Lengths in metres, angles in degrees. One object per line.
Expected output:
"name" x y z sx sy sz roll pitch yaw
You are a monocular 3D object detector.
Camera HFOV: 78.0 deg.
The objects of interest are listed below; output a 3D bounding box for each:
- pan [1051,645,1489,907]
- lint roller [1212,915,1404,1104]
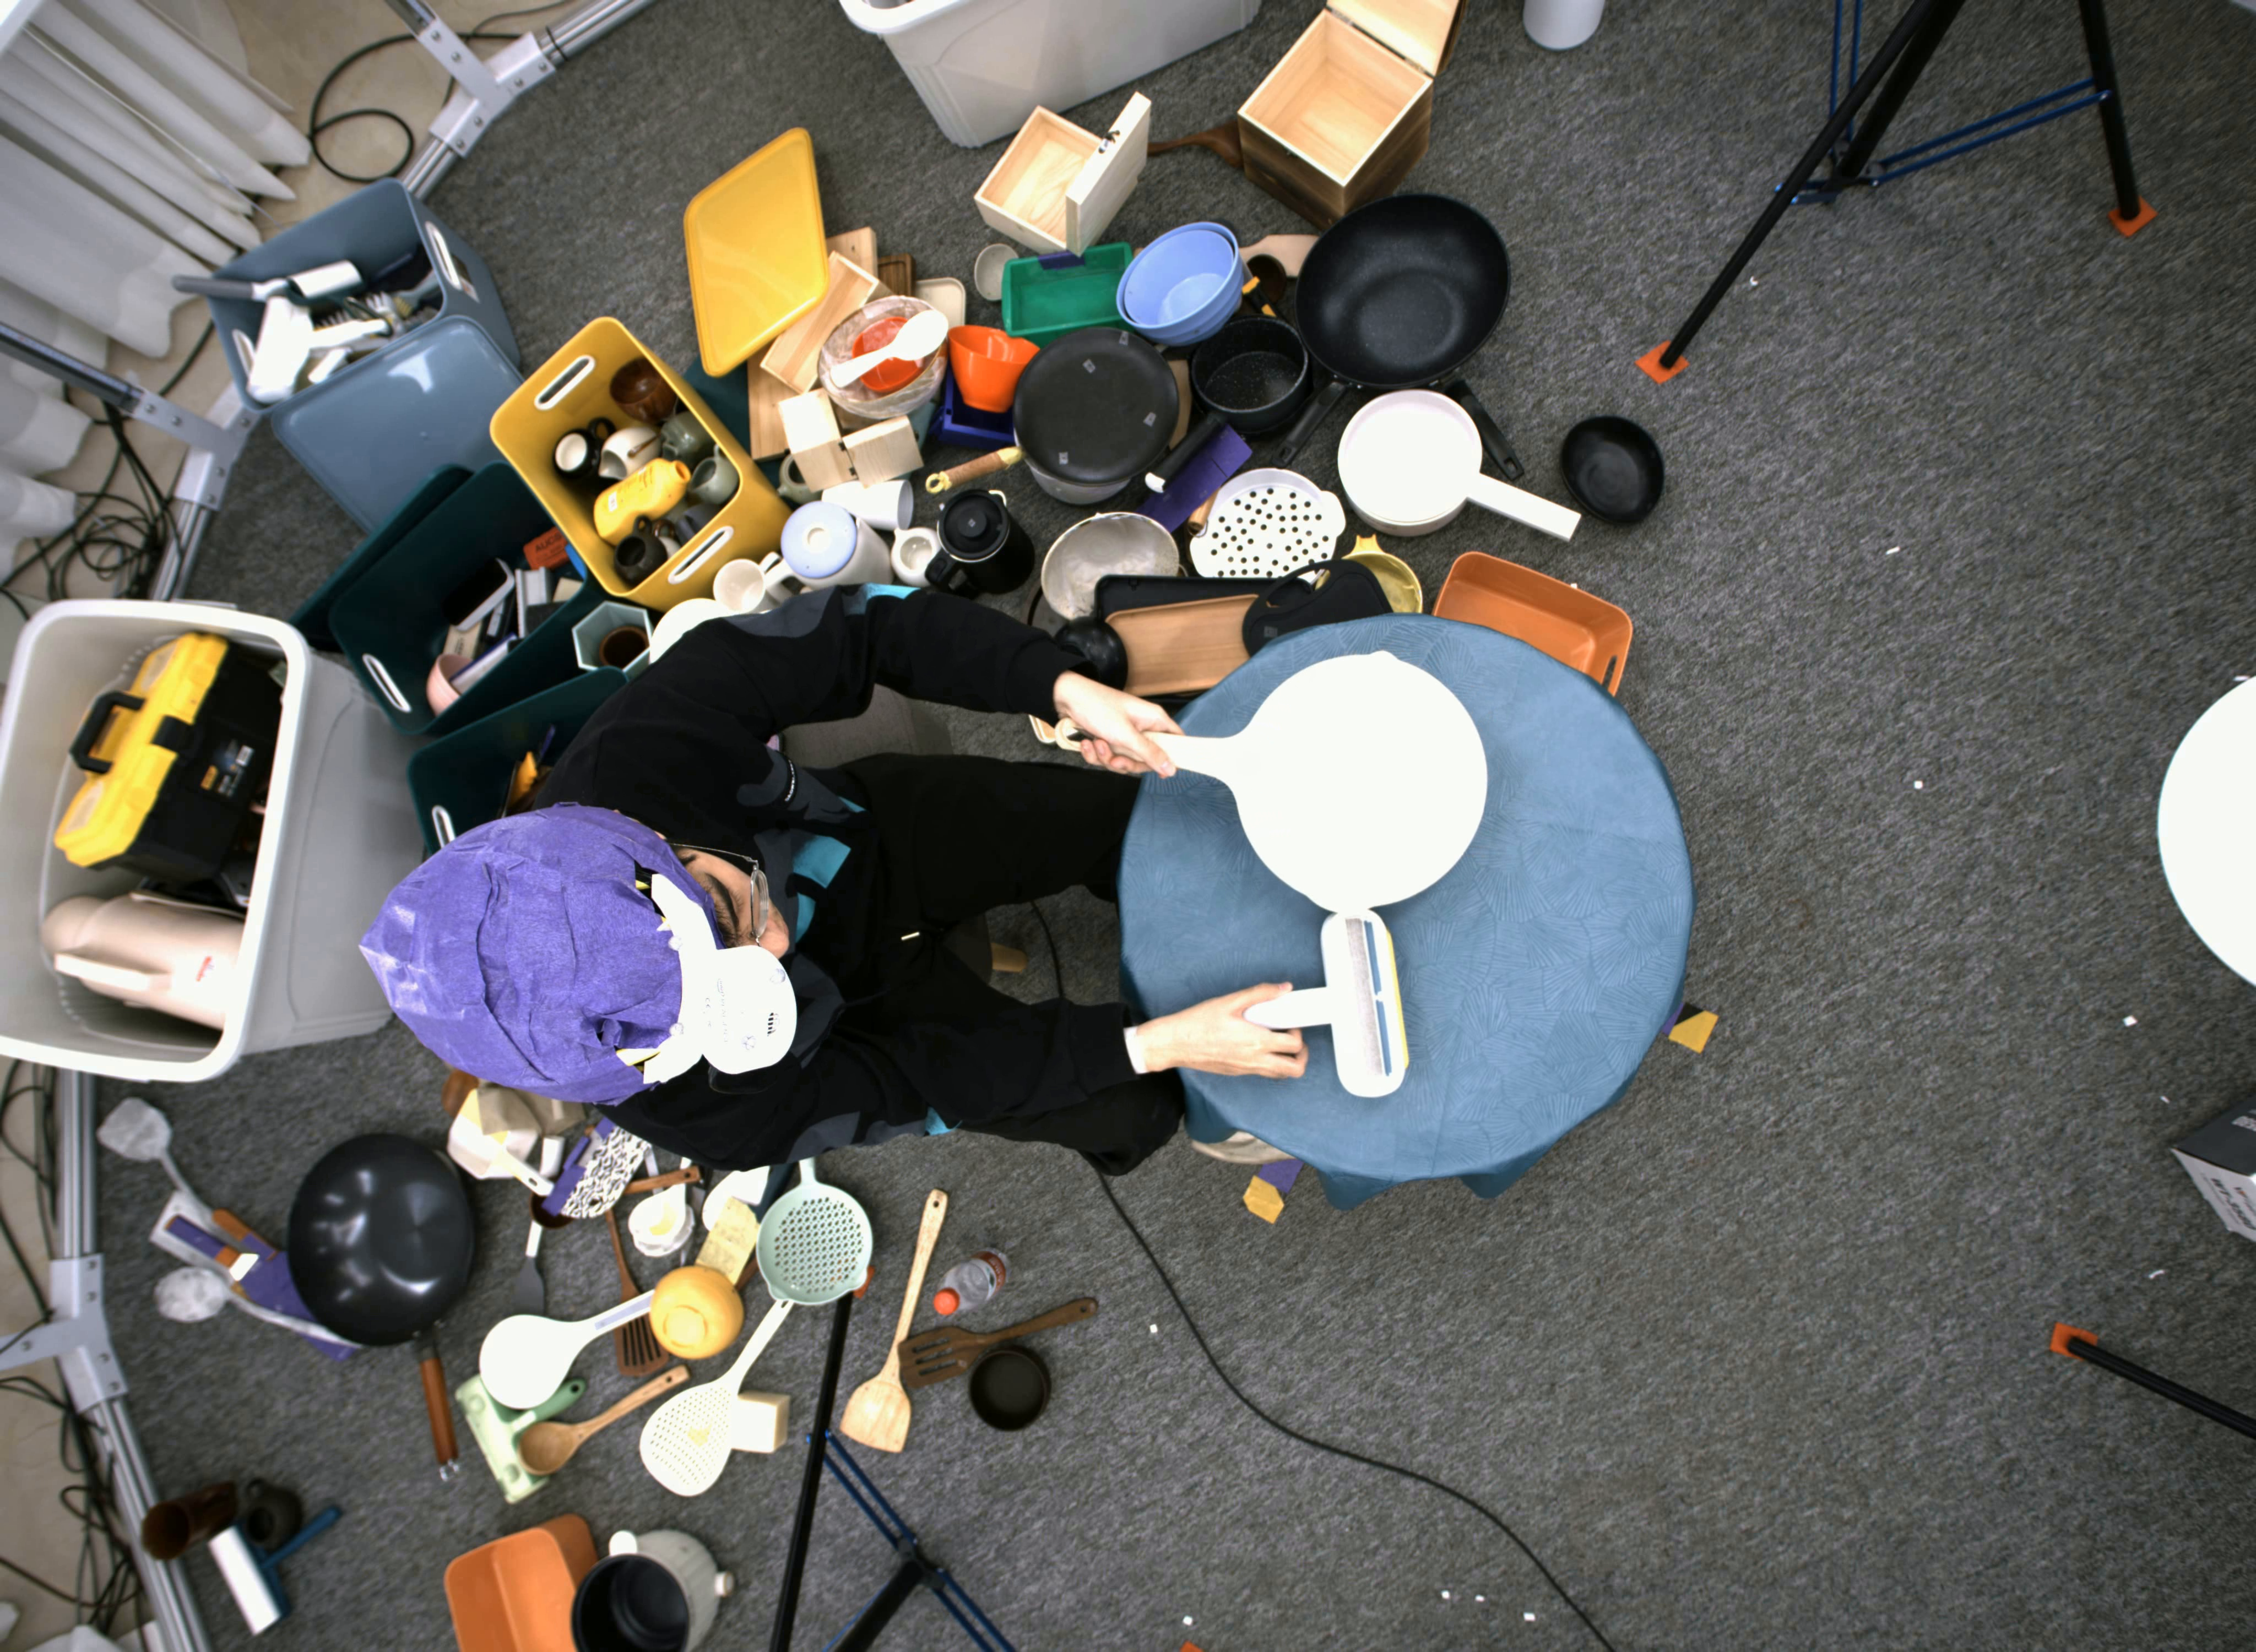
"pan" 0.142 -0.066 1.396 0.435 0.101 0.265 8 99 -1
"lint roller" 0.182 0.189 1.425 0.193 0.075 0.191 -3 80 5
